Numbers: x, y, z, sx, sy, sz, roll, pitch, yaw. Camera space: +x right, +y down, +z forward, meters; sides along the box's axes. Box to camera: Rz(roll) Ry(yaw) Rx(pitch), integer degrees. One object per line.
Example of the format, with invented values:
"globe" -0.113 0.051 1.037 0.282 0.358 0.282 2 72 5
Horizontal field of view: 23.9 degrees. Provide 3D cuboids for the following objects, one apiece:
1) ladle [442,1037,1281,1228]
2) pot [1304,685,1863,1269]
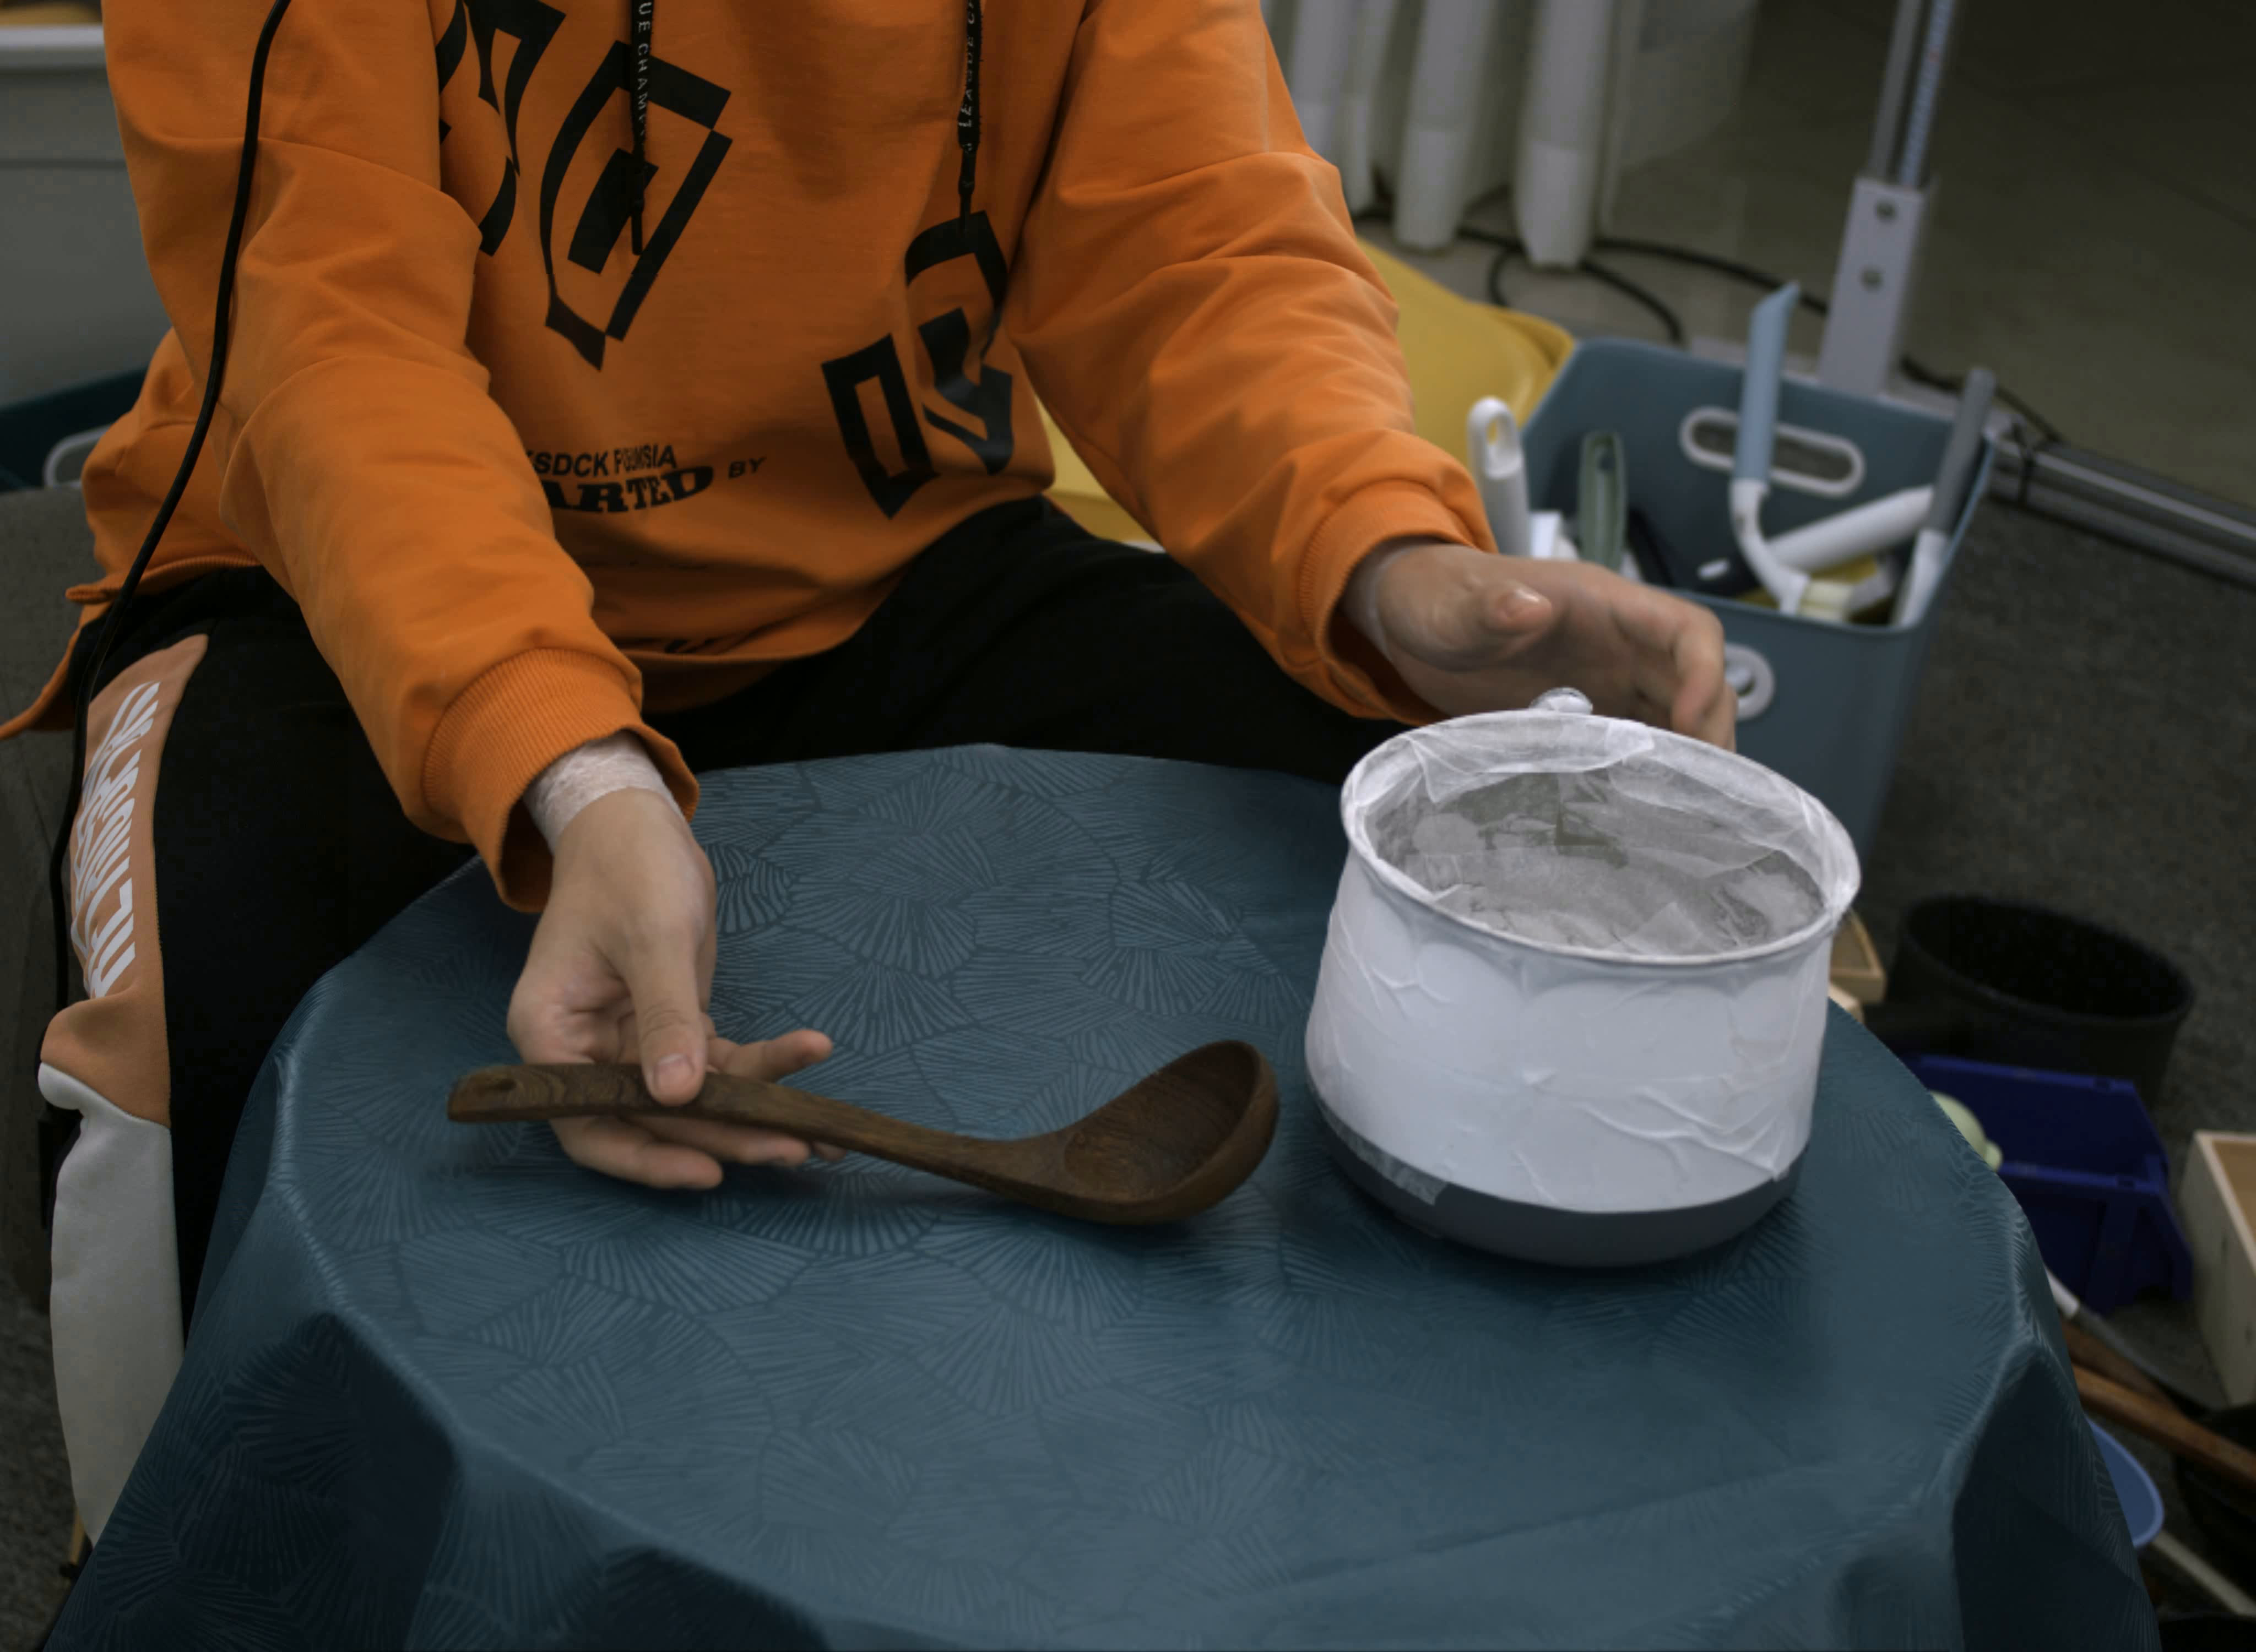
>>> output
"ladle" -0.087 0.085 1.764 0.273 0.071 0.076 10 24 -8
"pot" 0.150 0.045 1.840 0.178 0.136 0.235 4 27 -6
